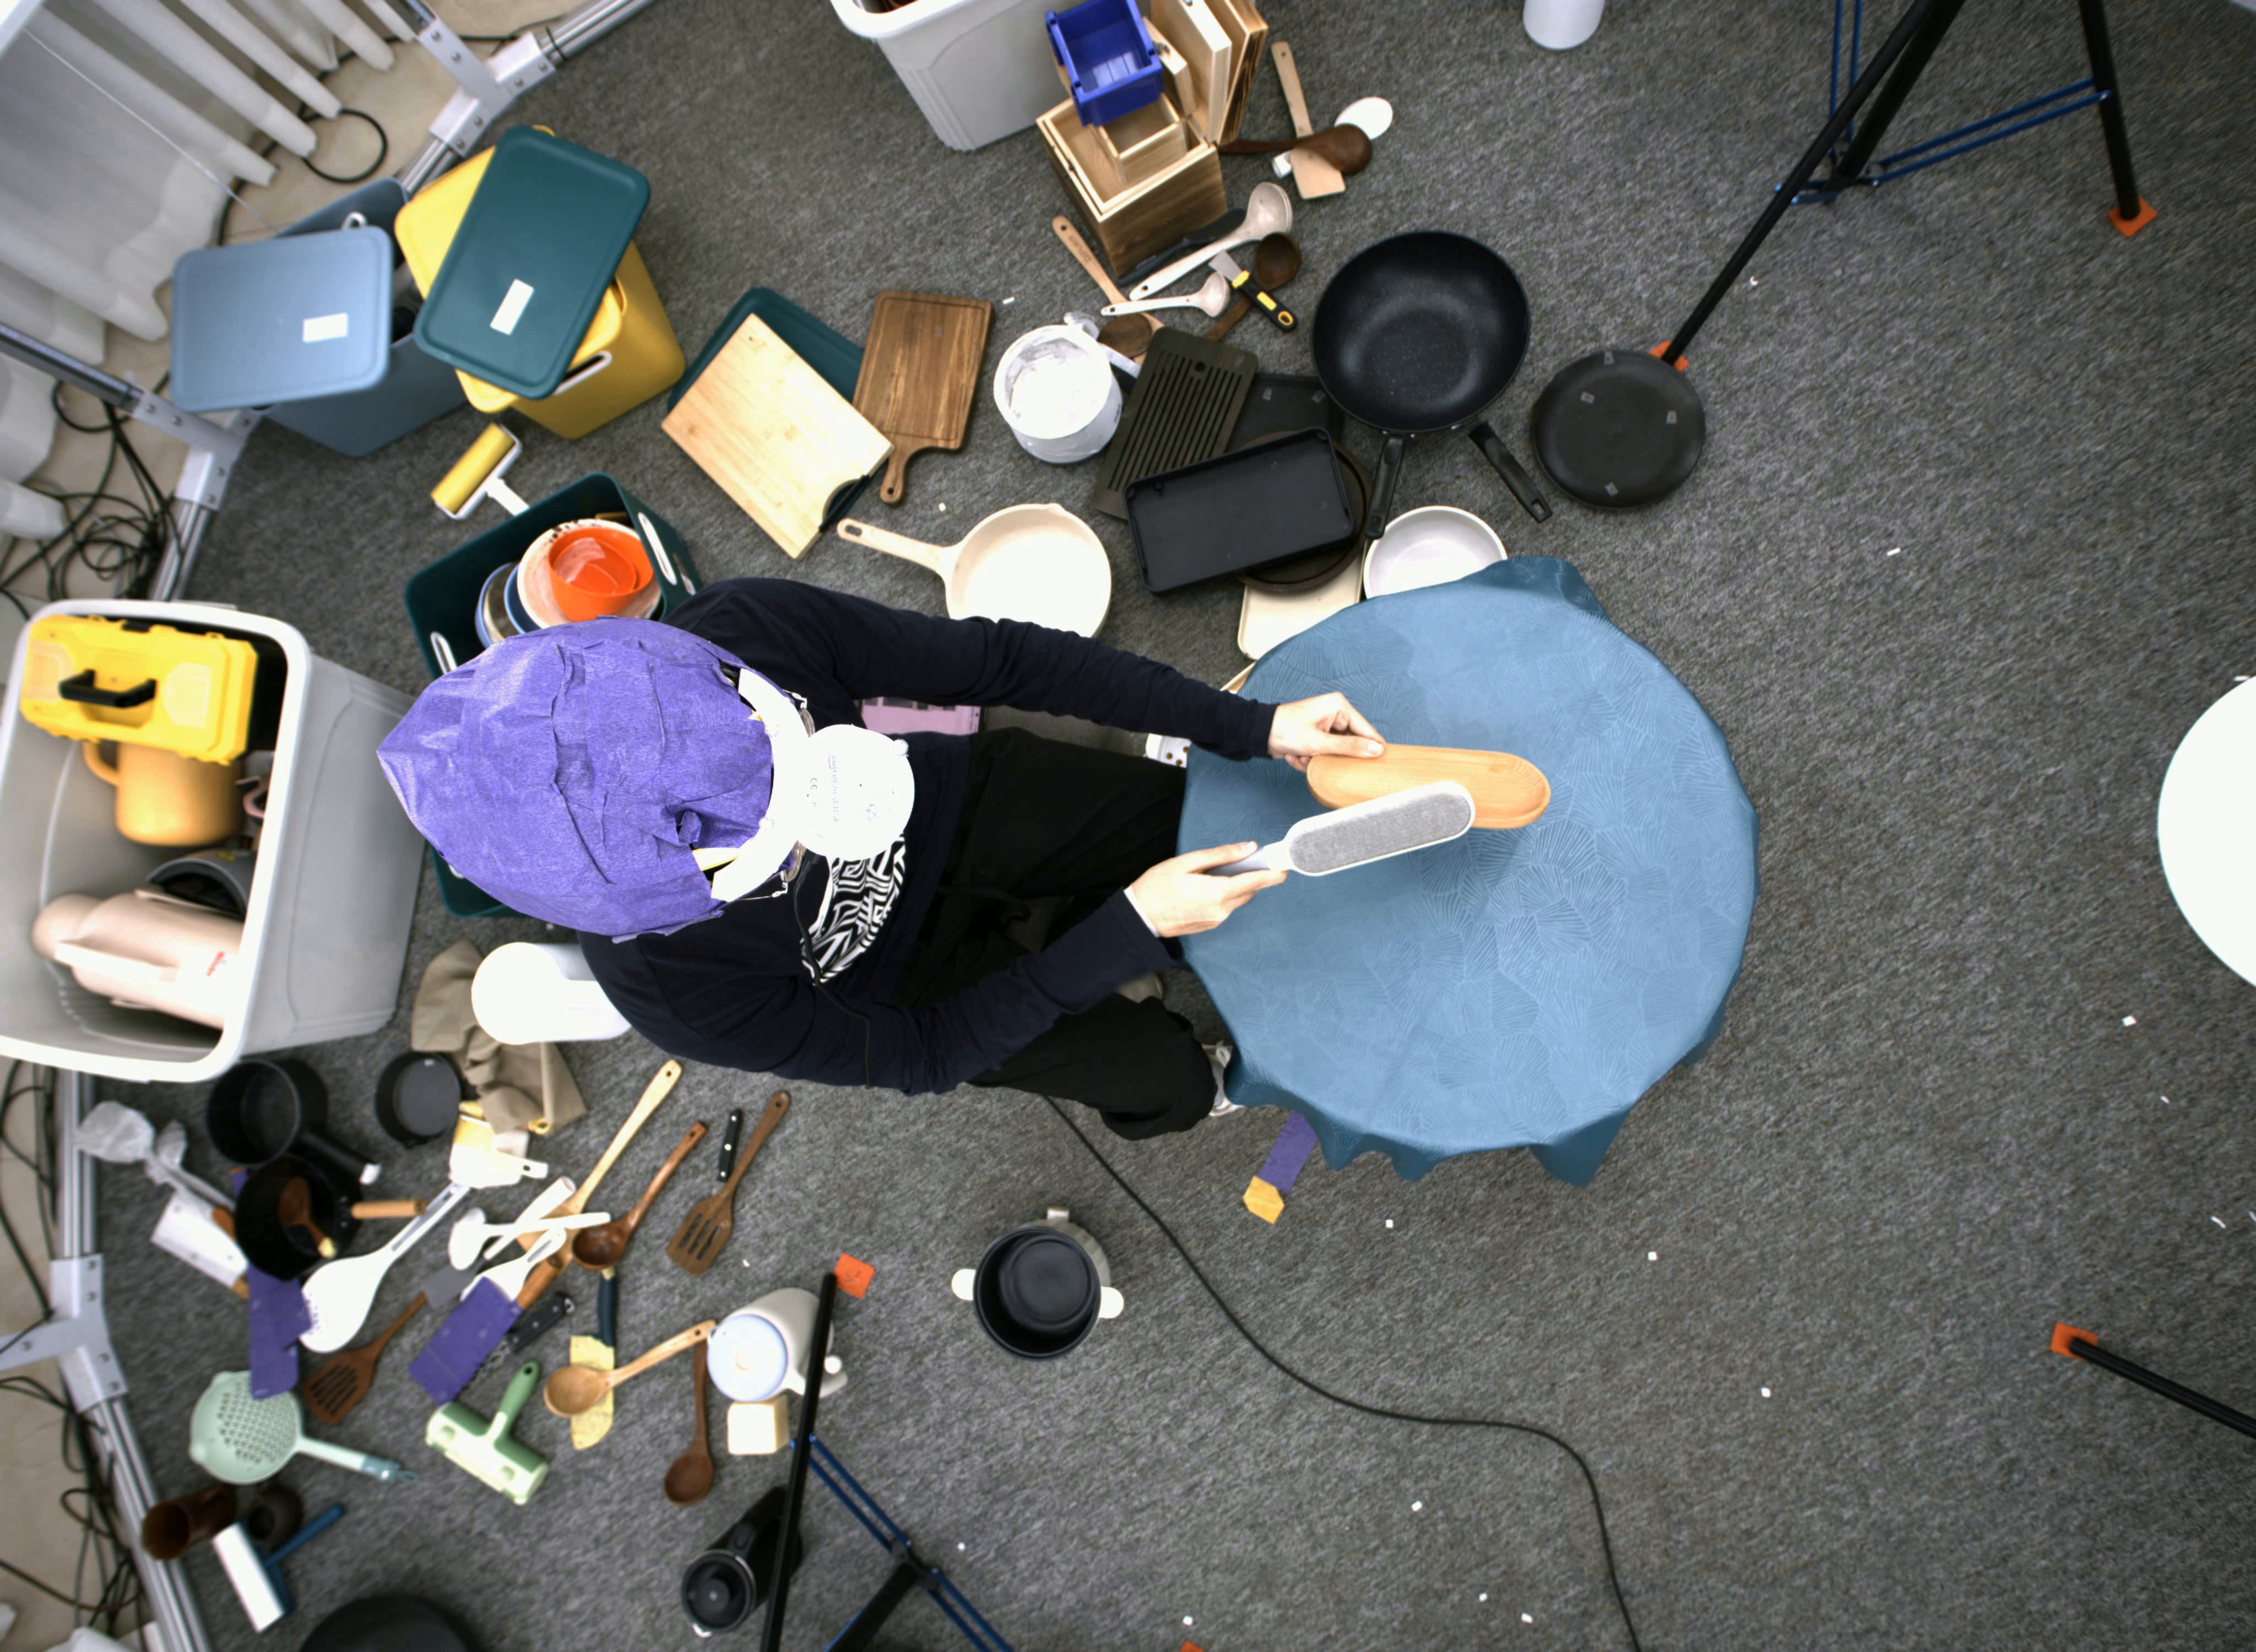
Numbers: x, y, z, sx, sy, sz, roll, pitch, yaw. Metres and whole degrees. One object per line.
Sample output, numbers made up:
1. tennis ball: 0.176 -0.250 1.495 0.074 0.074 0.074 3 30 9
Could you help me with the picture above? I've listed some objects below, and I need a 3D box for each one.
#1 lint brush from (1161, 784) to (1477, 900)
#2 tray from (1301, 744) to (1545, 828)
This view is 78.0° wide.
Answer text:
1. lint brush: 0.176 0.020 1.300 0.311 0.020 0.061 -16 119 17
2. tray: 0.282 -0.040 1.320 0.232 0.021 0.099 3 42 7
